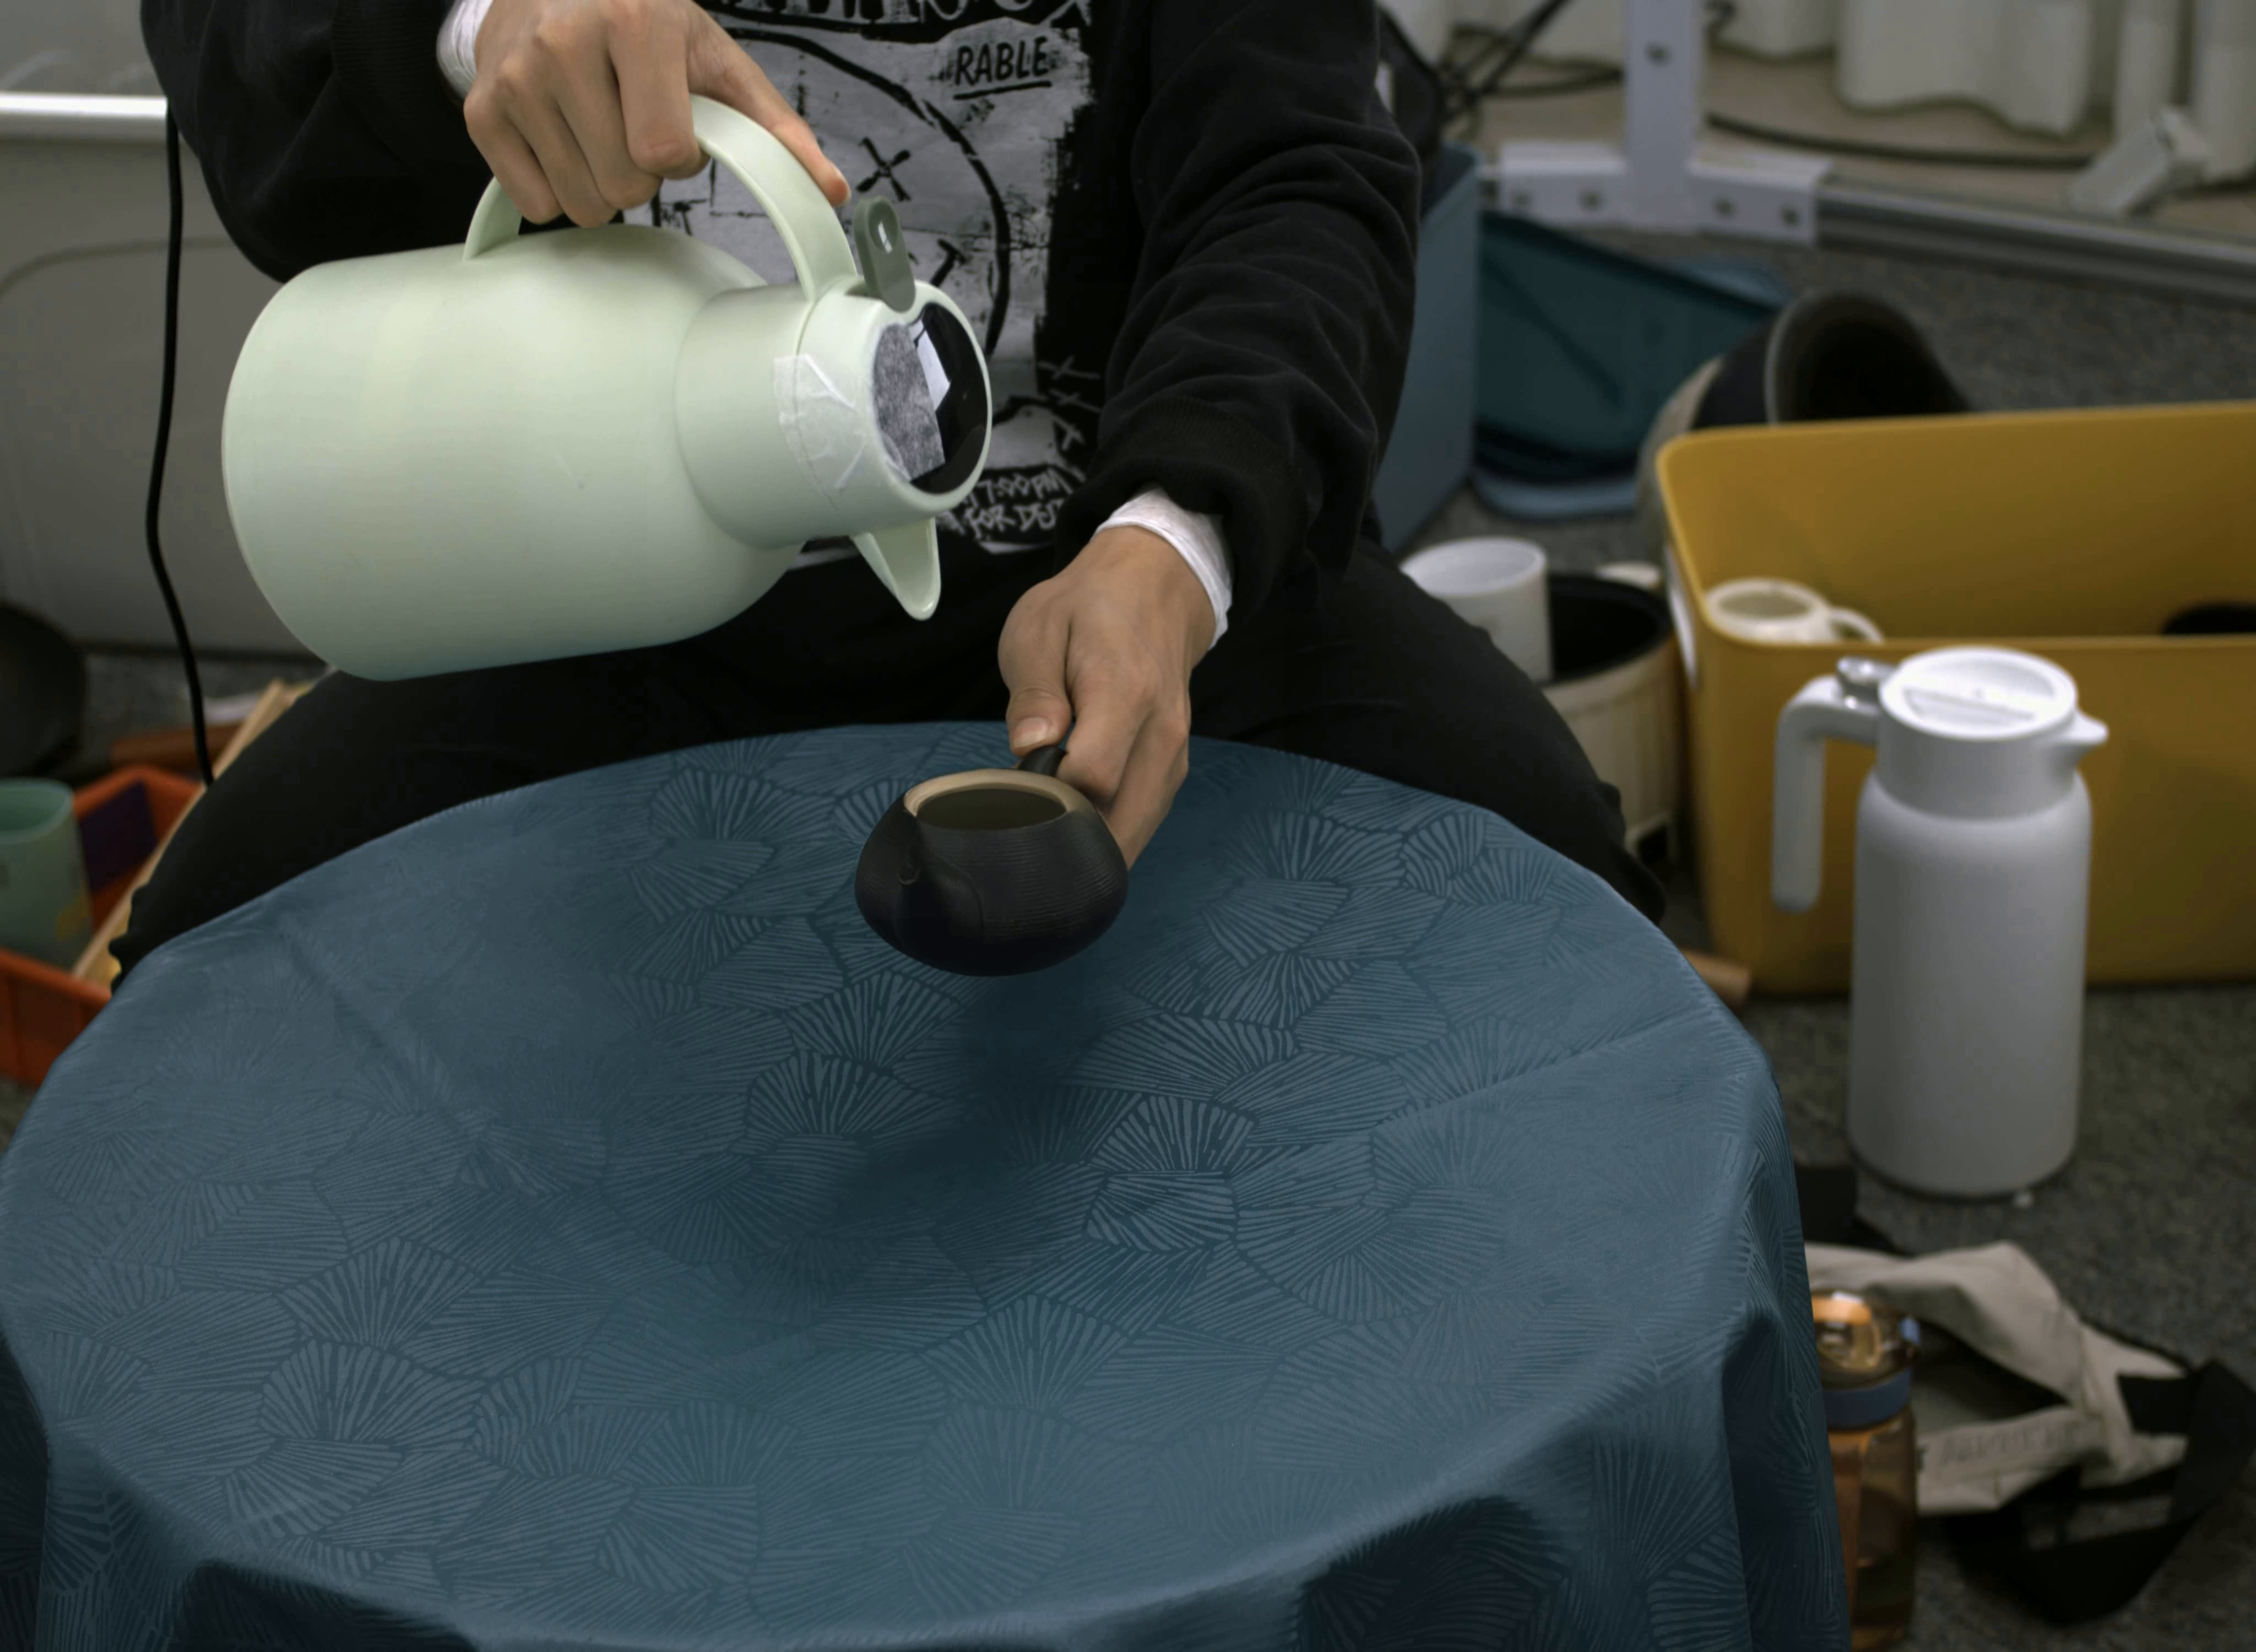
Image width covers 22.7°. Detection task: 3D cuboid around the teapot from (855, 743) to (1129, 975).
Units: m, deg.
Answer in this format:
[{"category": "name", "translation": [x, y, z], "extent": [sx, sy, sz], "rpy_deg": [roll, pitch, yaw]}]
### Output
[{"category": "teapot", "translation": [-0.045, 0.015, 1.854], "extent": [0.090, 0.052, 0.135], "rpy_deg": [9, 23, 19]}]

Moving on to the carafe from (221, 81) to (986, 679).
[{"category": "carafe", "translation": [-0.172, -0.145, 1.868], "extent": [0.253, 0.186, 0.146], "rpy_deg": [-9, 15, 34]}]
